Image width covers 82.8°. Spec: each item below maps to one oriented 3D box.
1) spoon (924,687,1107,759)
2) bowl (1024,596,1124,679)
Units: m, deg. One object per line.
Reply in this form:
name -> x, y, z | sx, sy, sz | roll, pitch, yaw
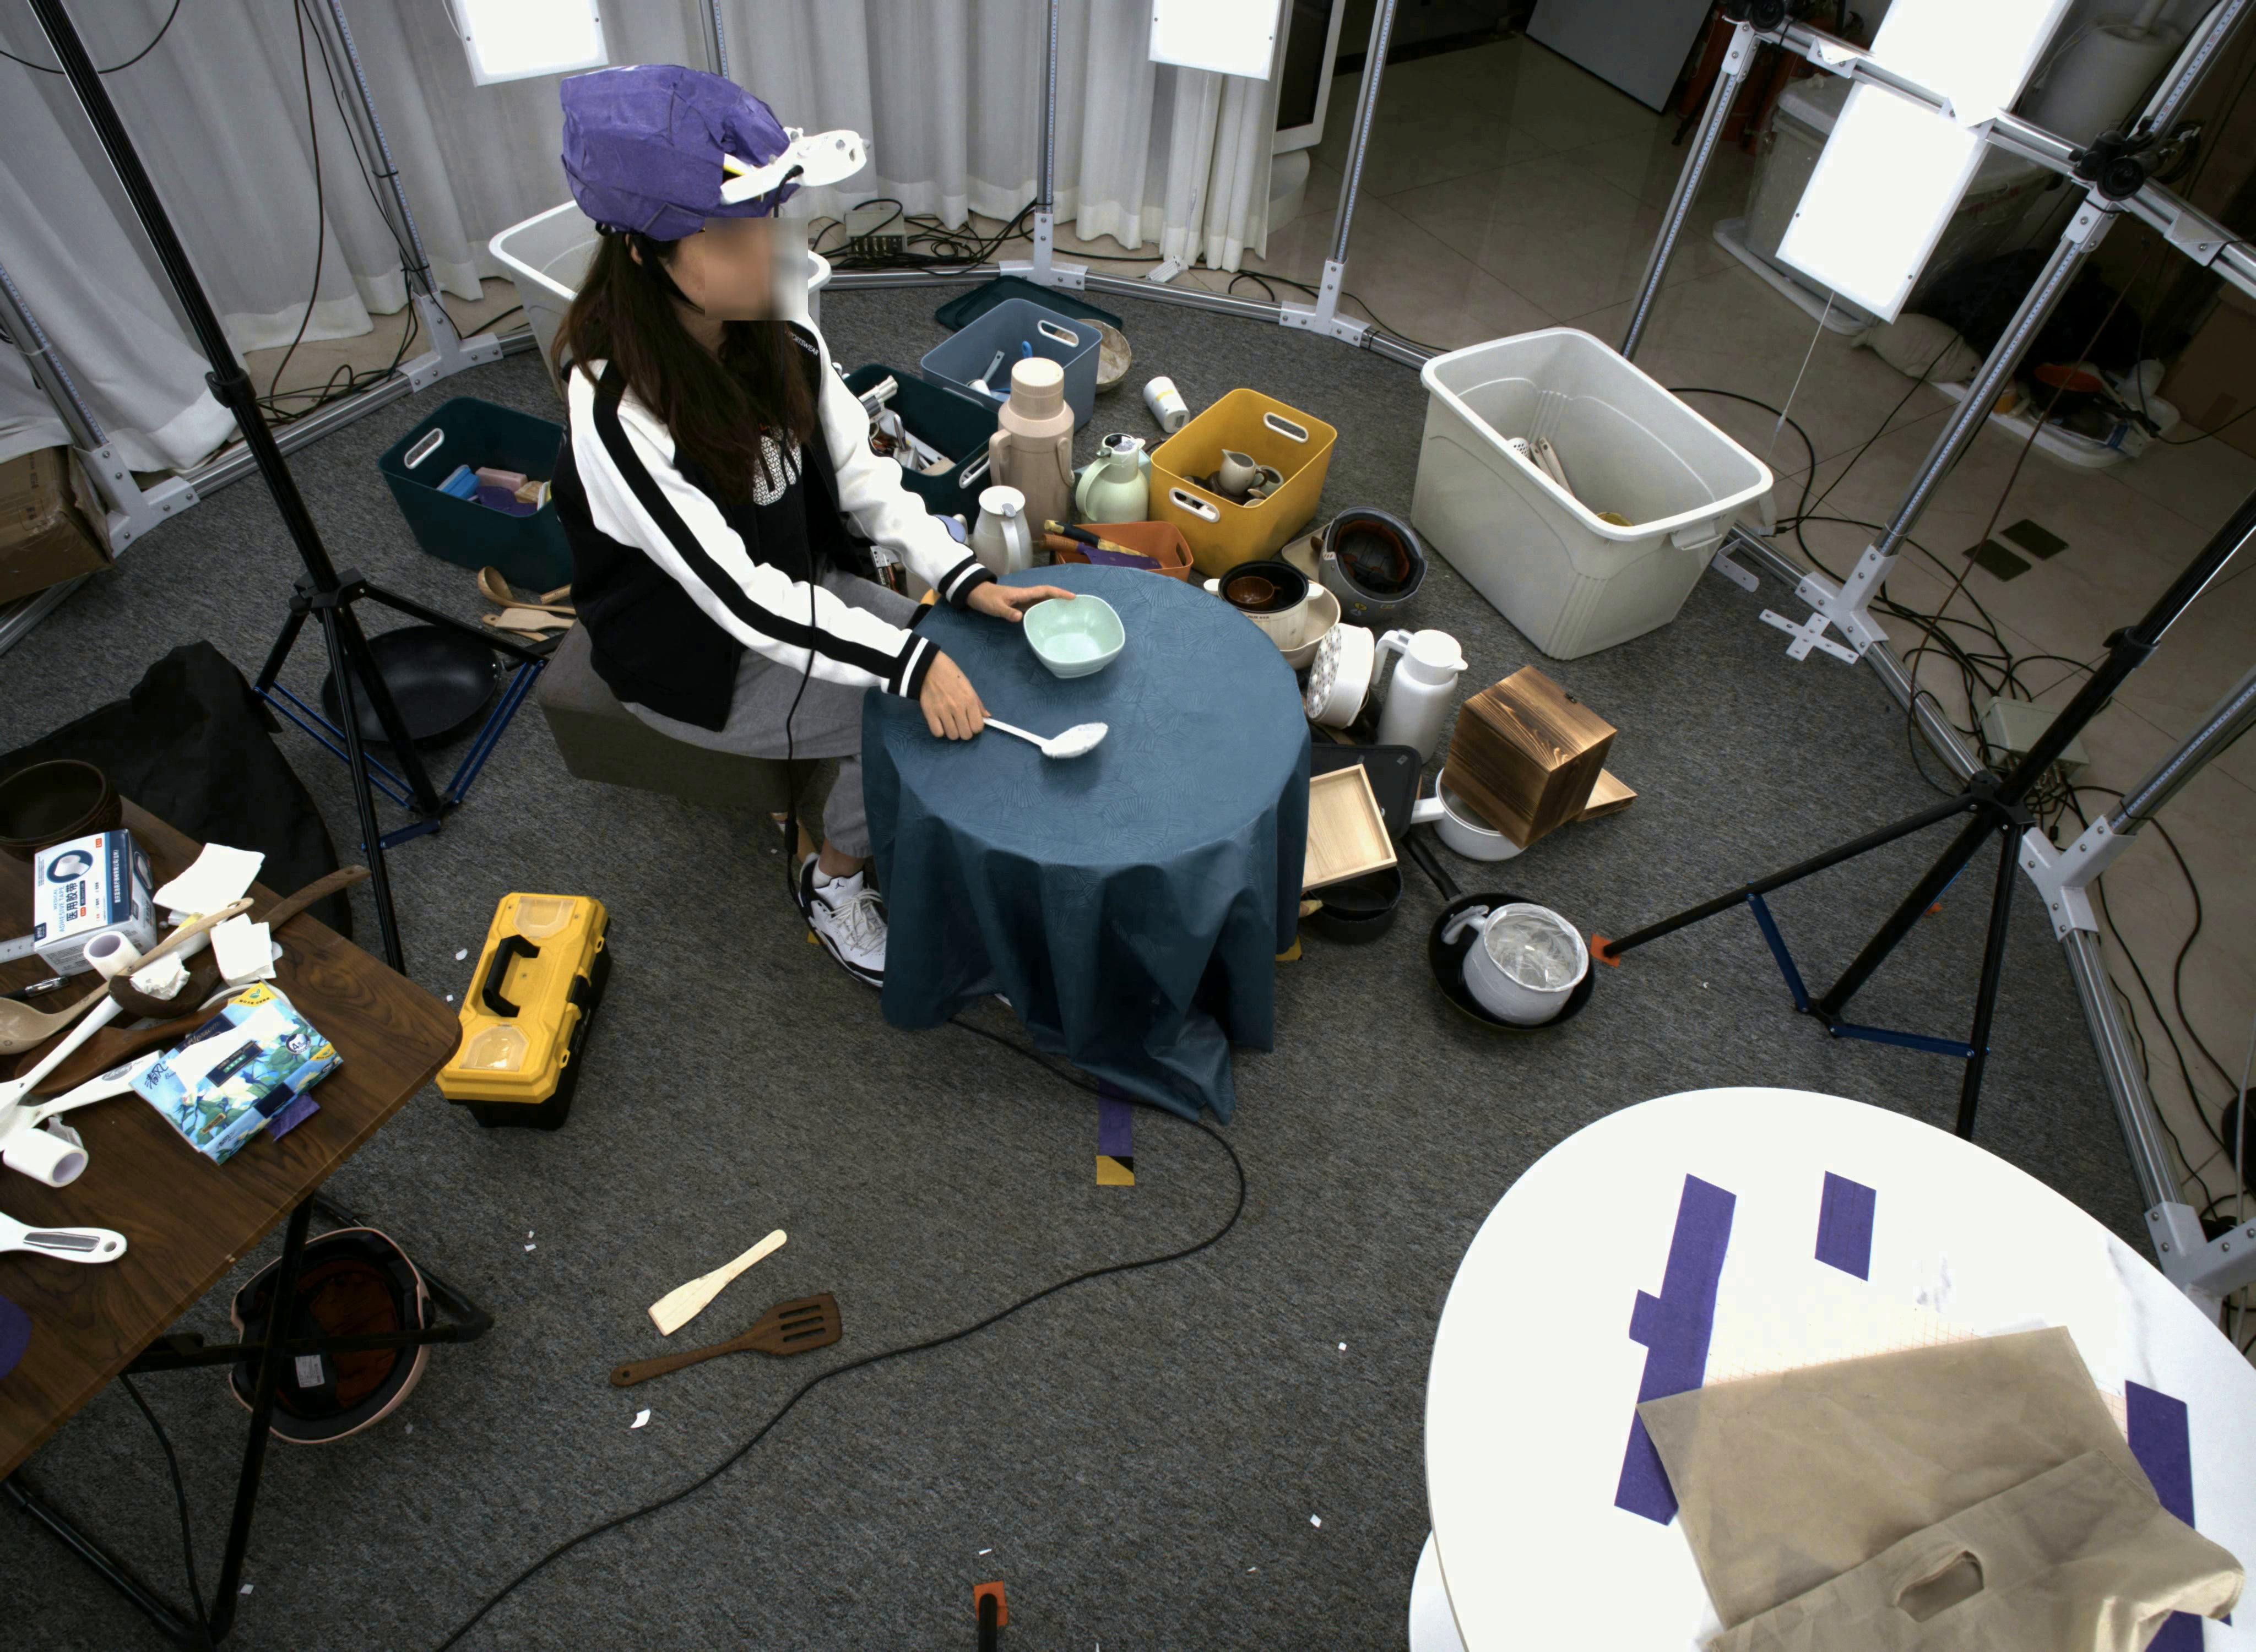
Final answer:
spoon -> -0.158, -0.158, 1.760 | 0.279, 0.058, 0.102 | 25, 37, 17
bowl -> -0.079, -0.264, 1.859 | 0.151, 0.057, 0.155 | 2, 49, -3
